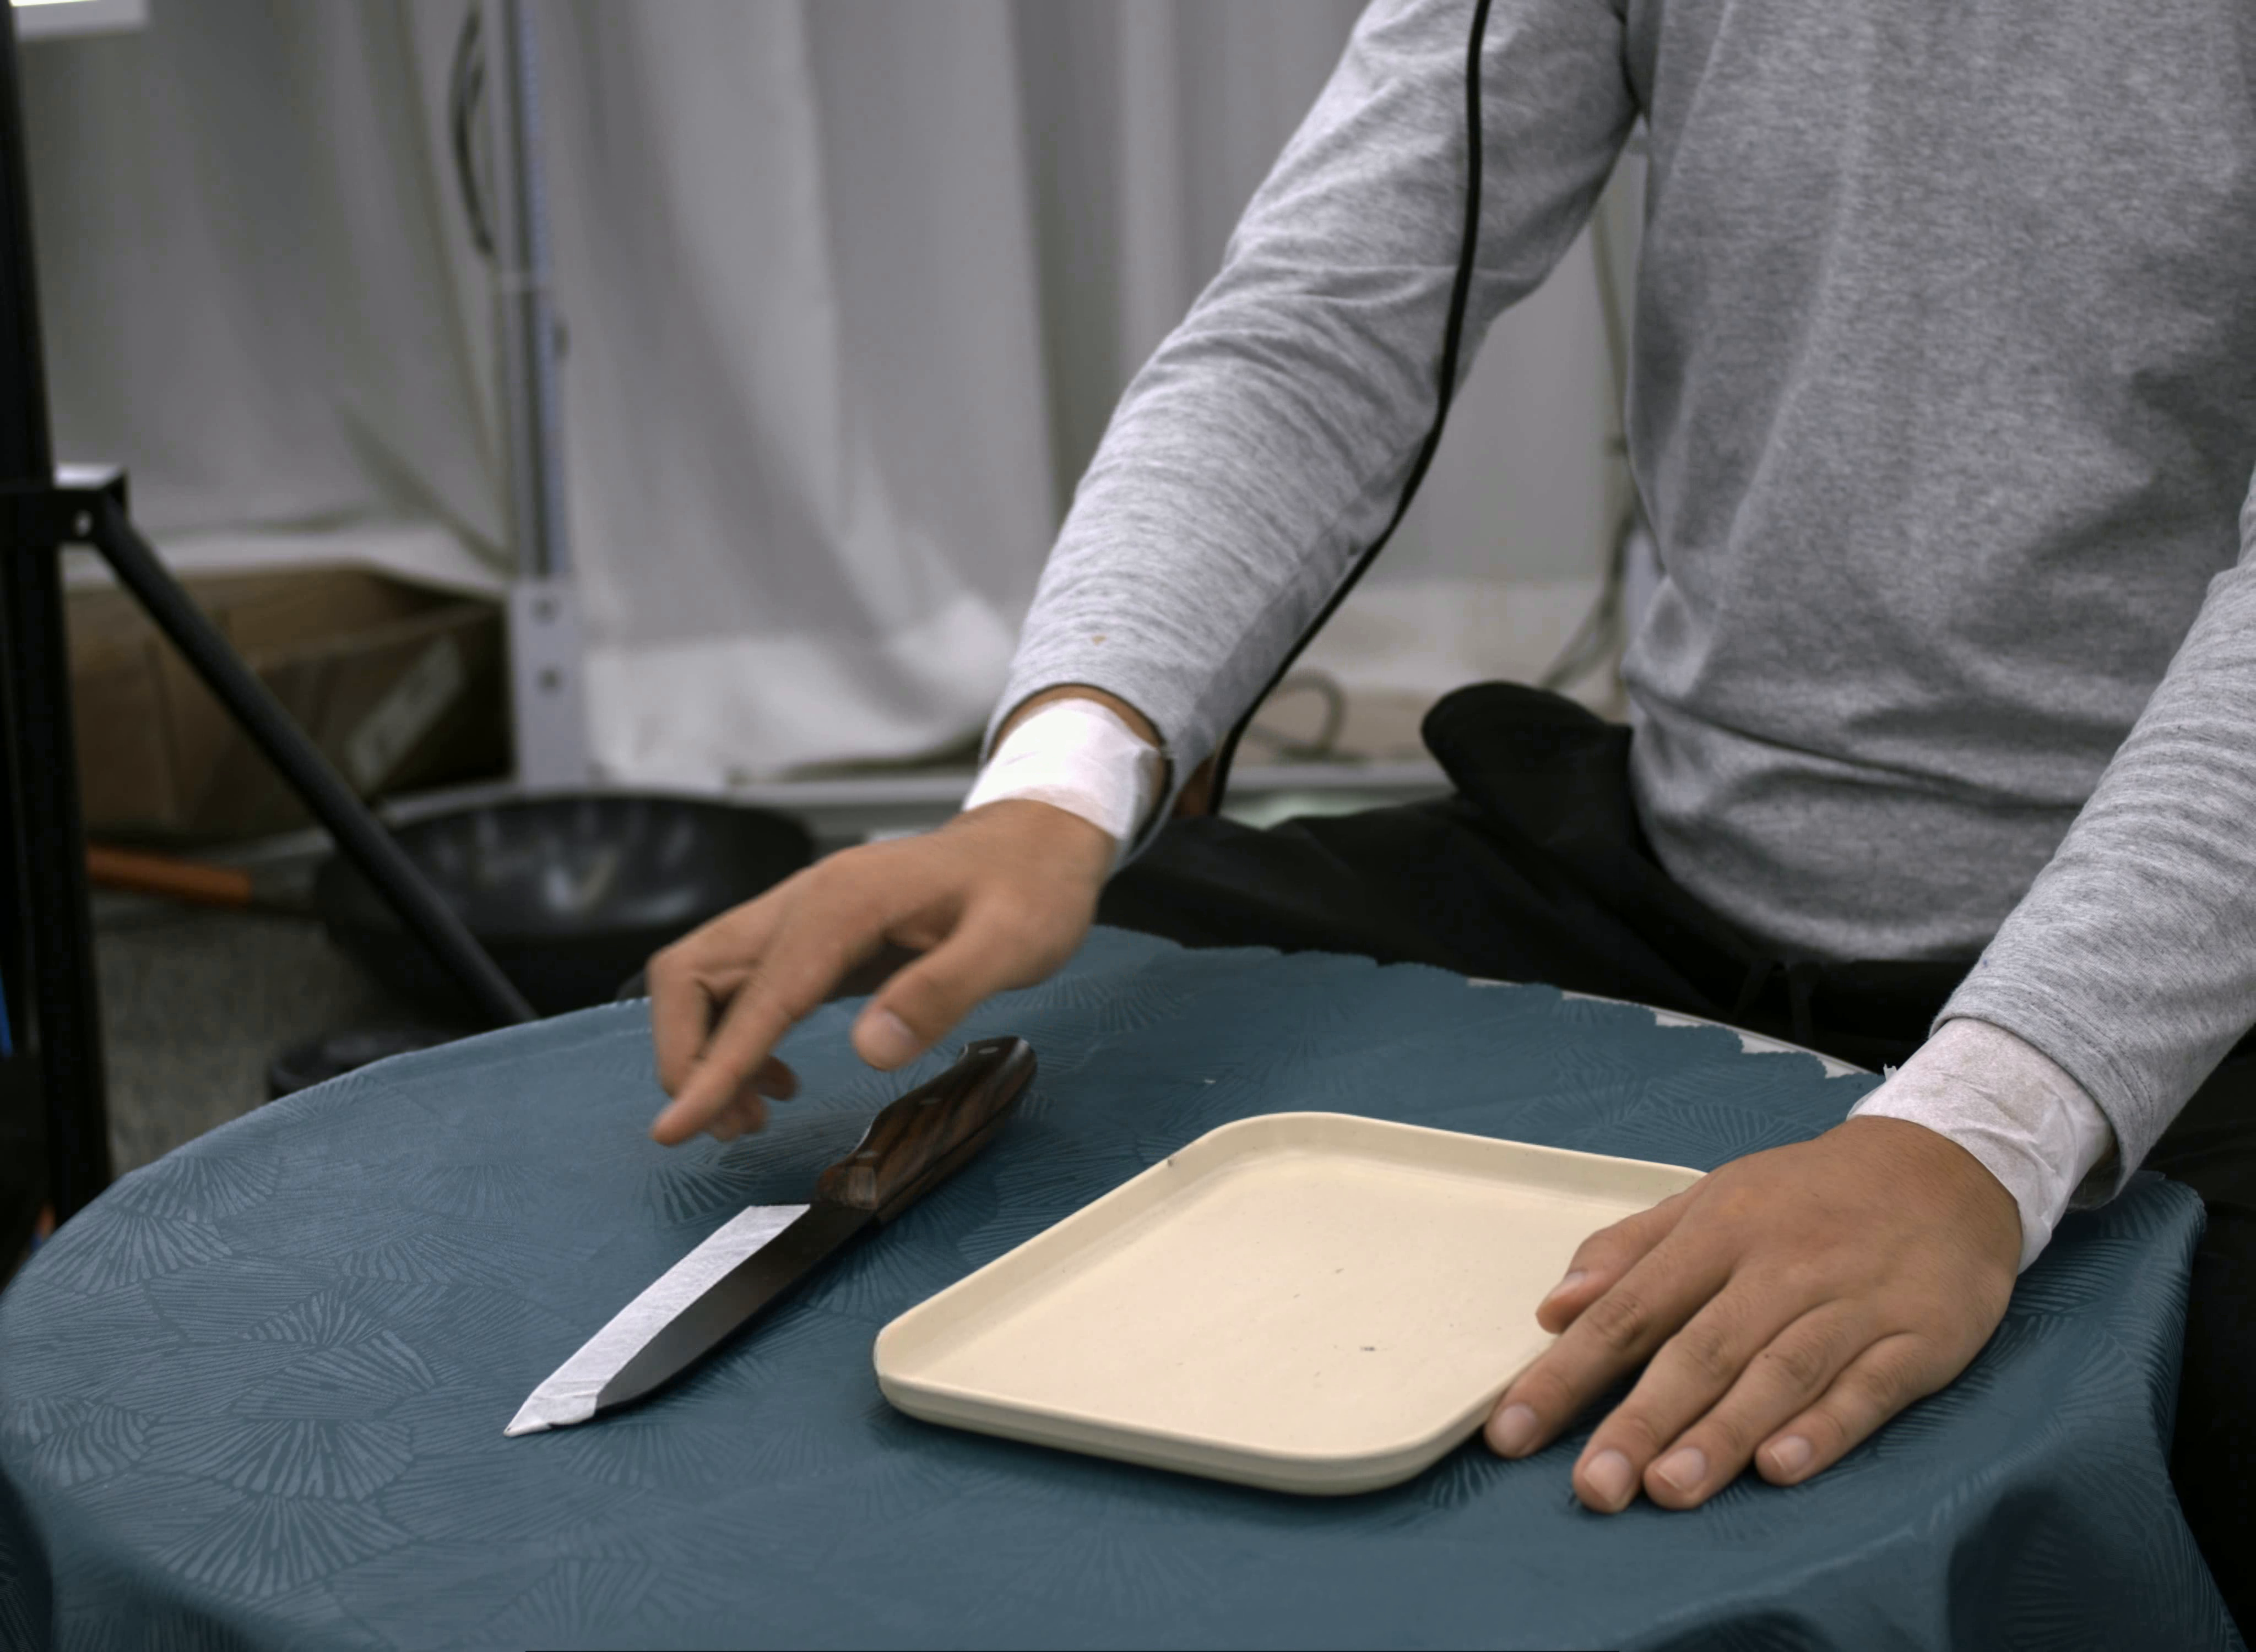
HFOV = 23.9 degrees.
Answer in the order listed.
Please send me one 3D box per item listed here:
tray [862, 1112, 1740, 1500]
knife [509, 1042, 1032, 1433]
[{"bbox_3d":[0.051,0.129,1.448,0.174,0.017,0.235,8,18,31],"label":"tray"},{"bbox_3d":[-0.097,0.117,1.518,0.051,0.020,0.285,-2,17,27],"label":"knife"}]
